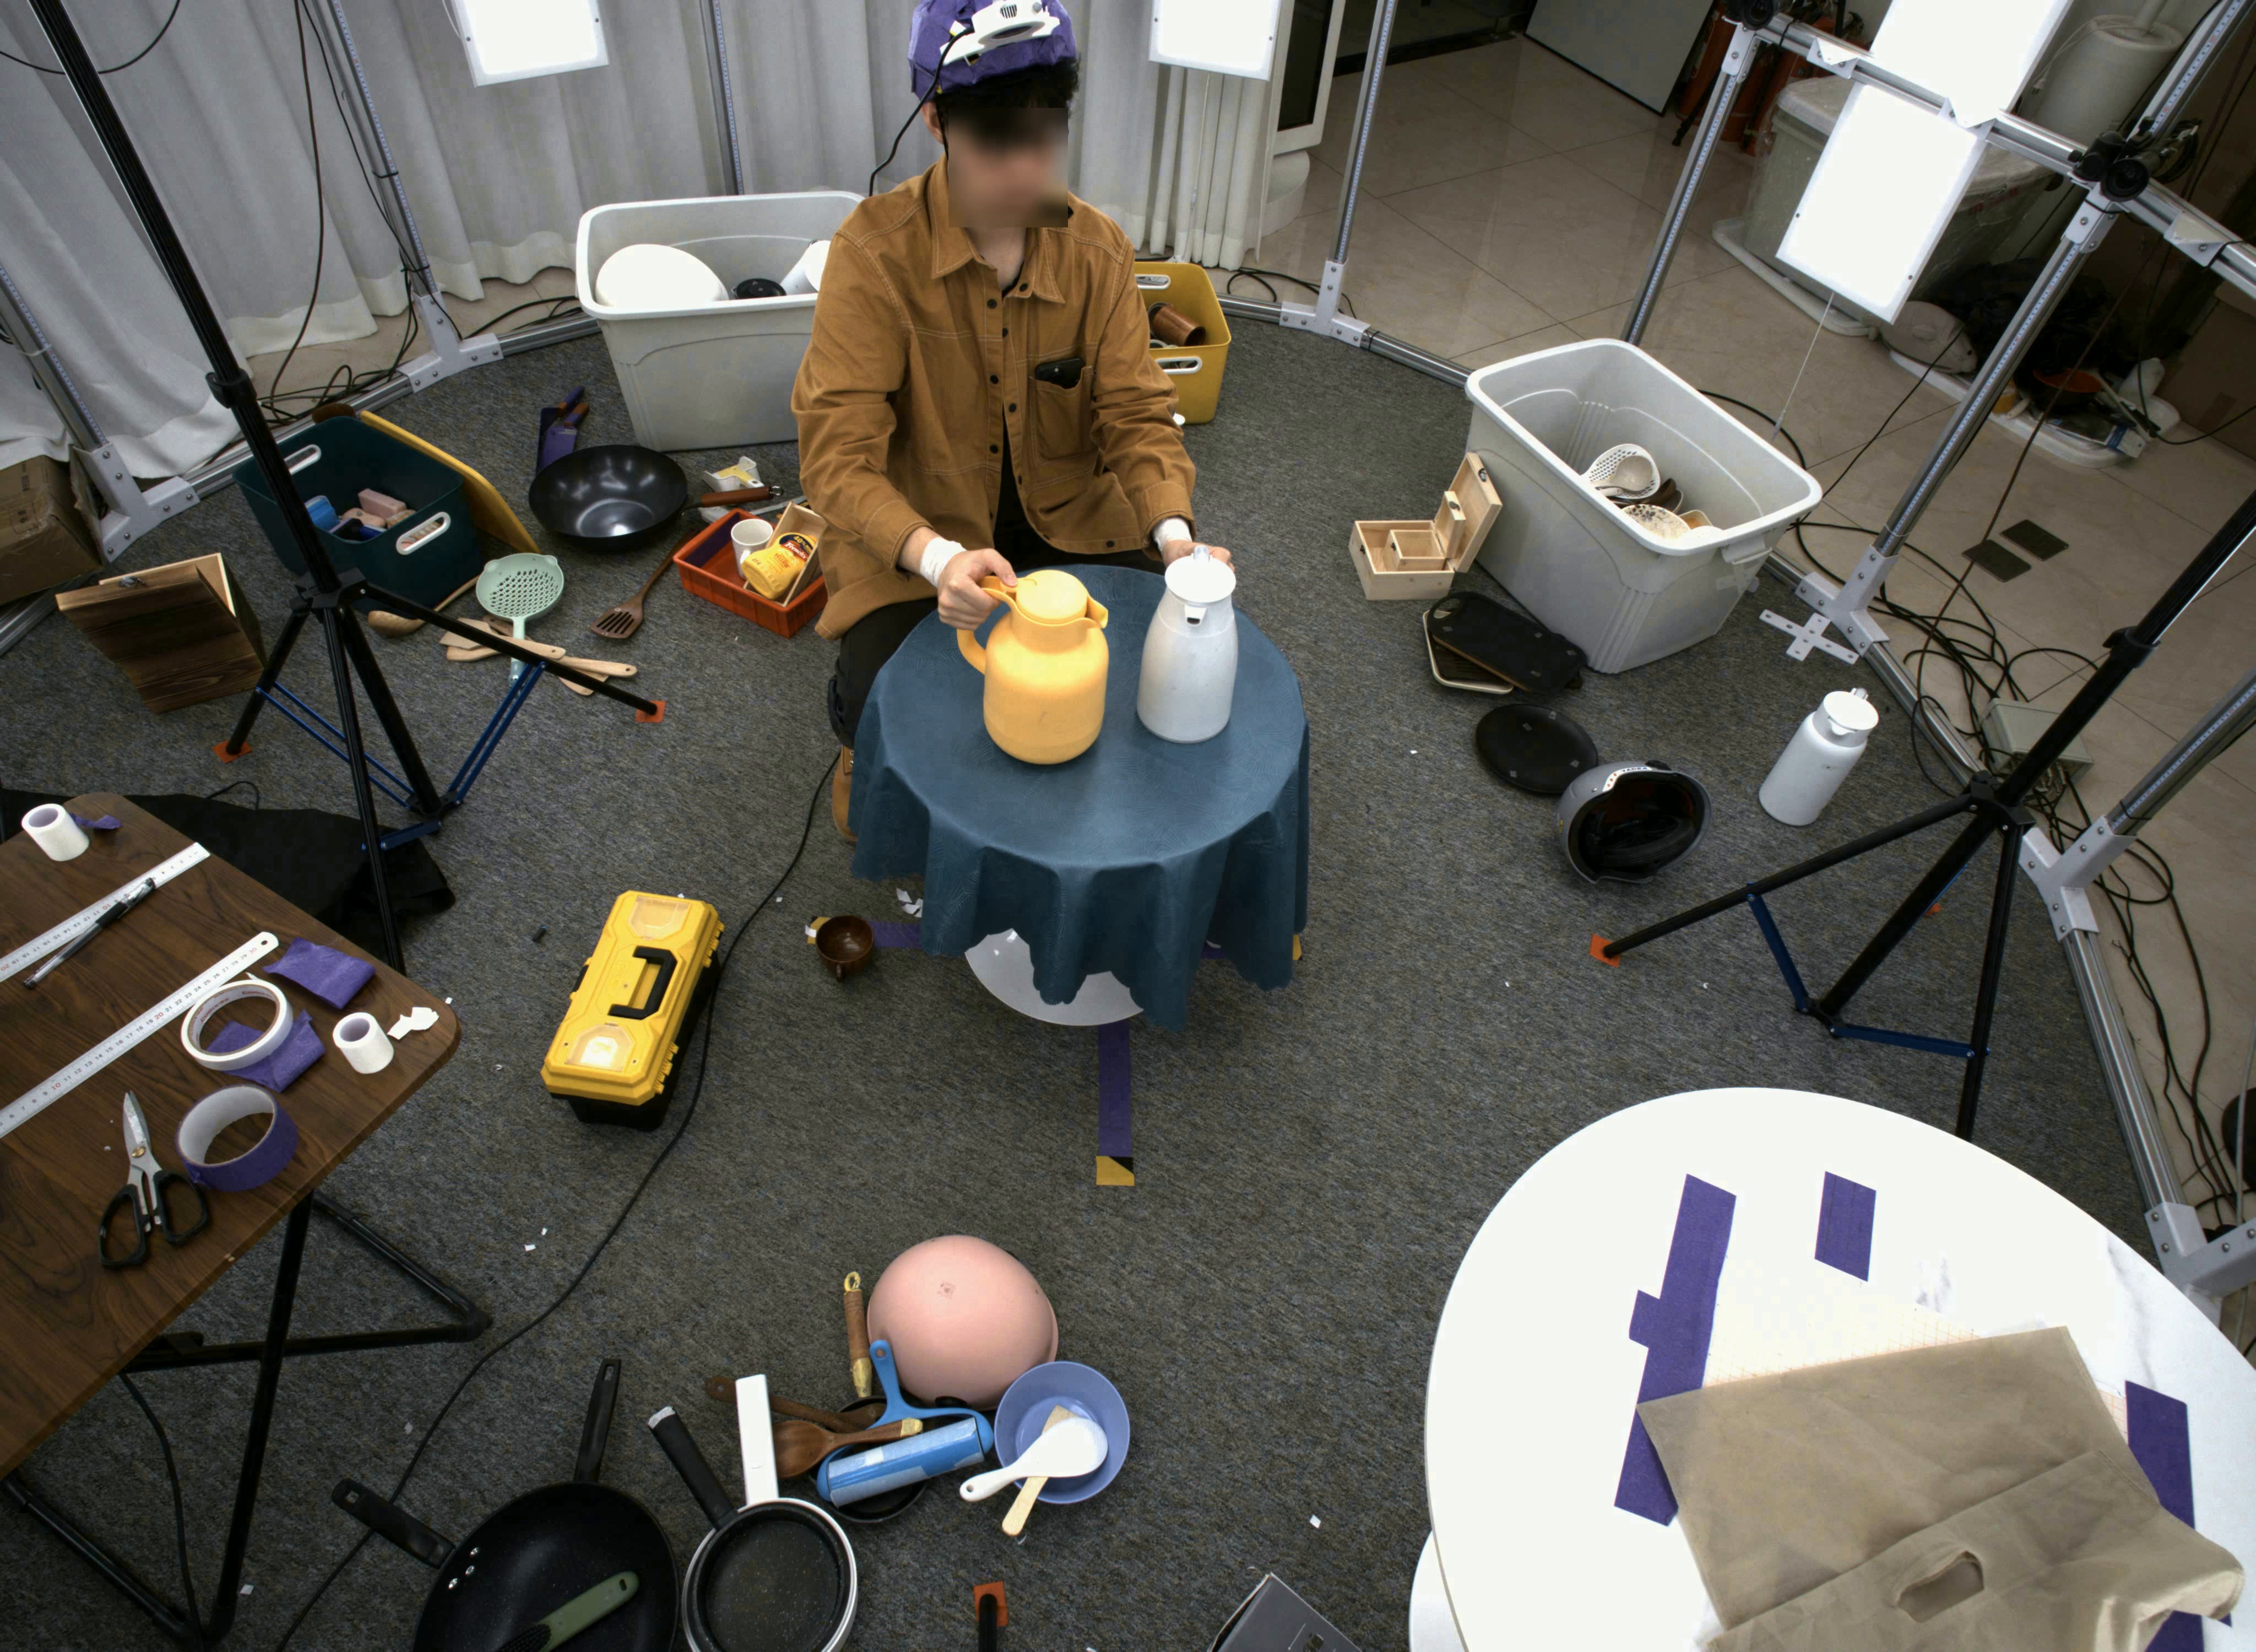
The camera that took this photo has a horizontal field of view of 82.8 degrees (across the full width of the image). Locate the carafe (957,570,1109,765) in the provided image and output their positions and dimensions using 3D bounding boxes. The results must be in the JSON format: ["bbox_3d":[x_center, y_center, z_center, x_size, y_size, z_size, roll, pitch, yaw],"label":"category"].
[{"bbox_3d":[-0.125,-0.219,1.679,0.203,0.254,0.167,20,50,7],"label":"carafe"}]

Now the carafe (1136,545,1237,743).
[{"bbox_3d":[0.086,-0.258,1.738,0.132,0.242,0.172,8,49,3],"label":"carafe"}]
